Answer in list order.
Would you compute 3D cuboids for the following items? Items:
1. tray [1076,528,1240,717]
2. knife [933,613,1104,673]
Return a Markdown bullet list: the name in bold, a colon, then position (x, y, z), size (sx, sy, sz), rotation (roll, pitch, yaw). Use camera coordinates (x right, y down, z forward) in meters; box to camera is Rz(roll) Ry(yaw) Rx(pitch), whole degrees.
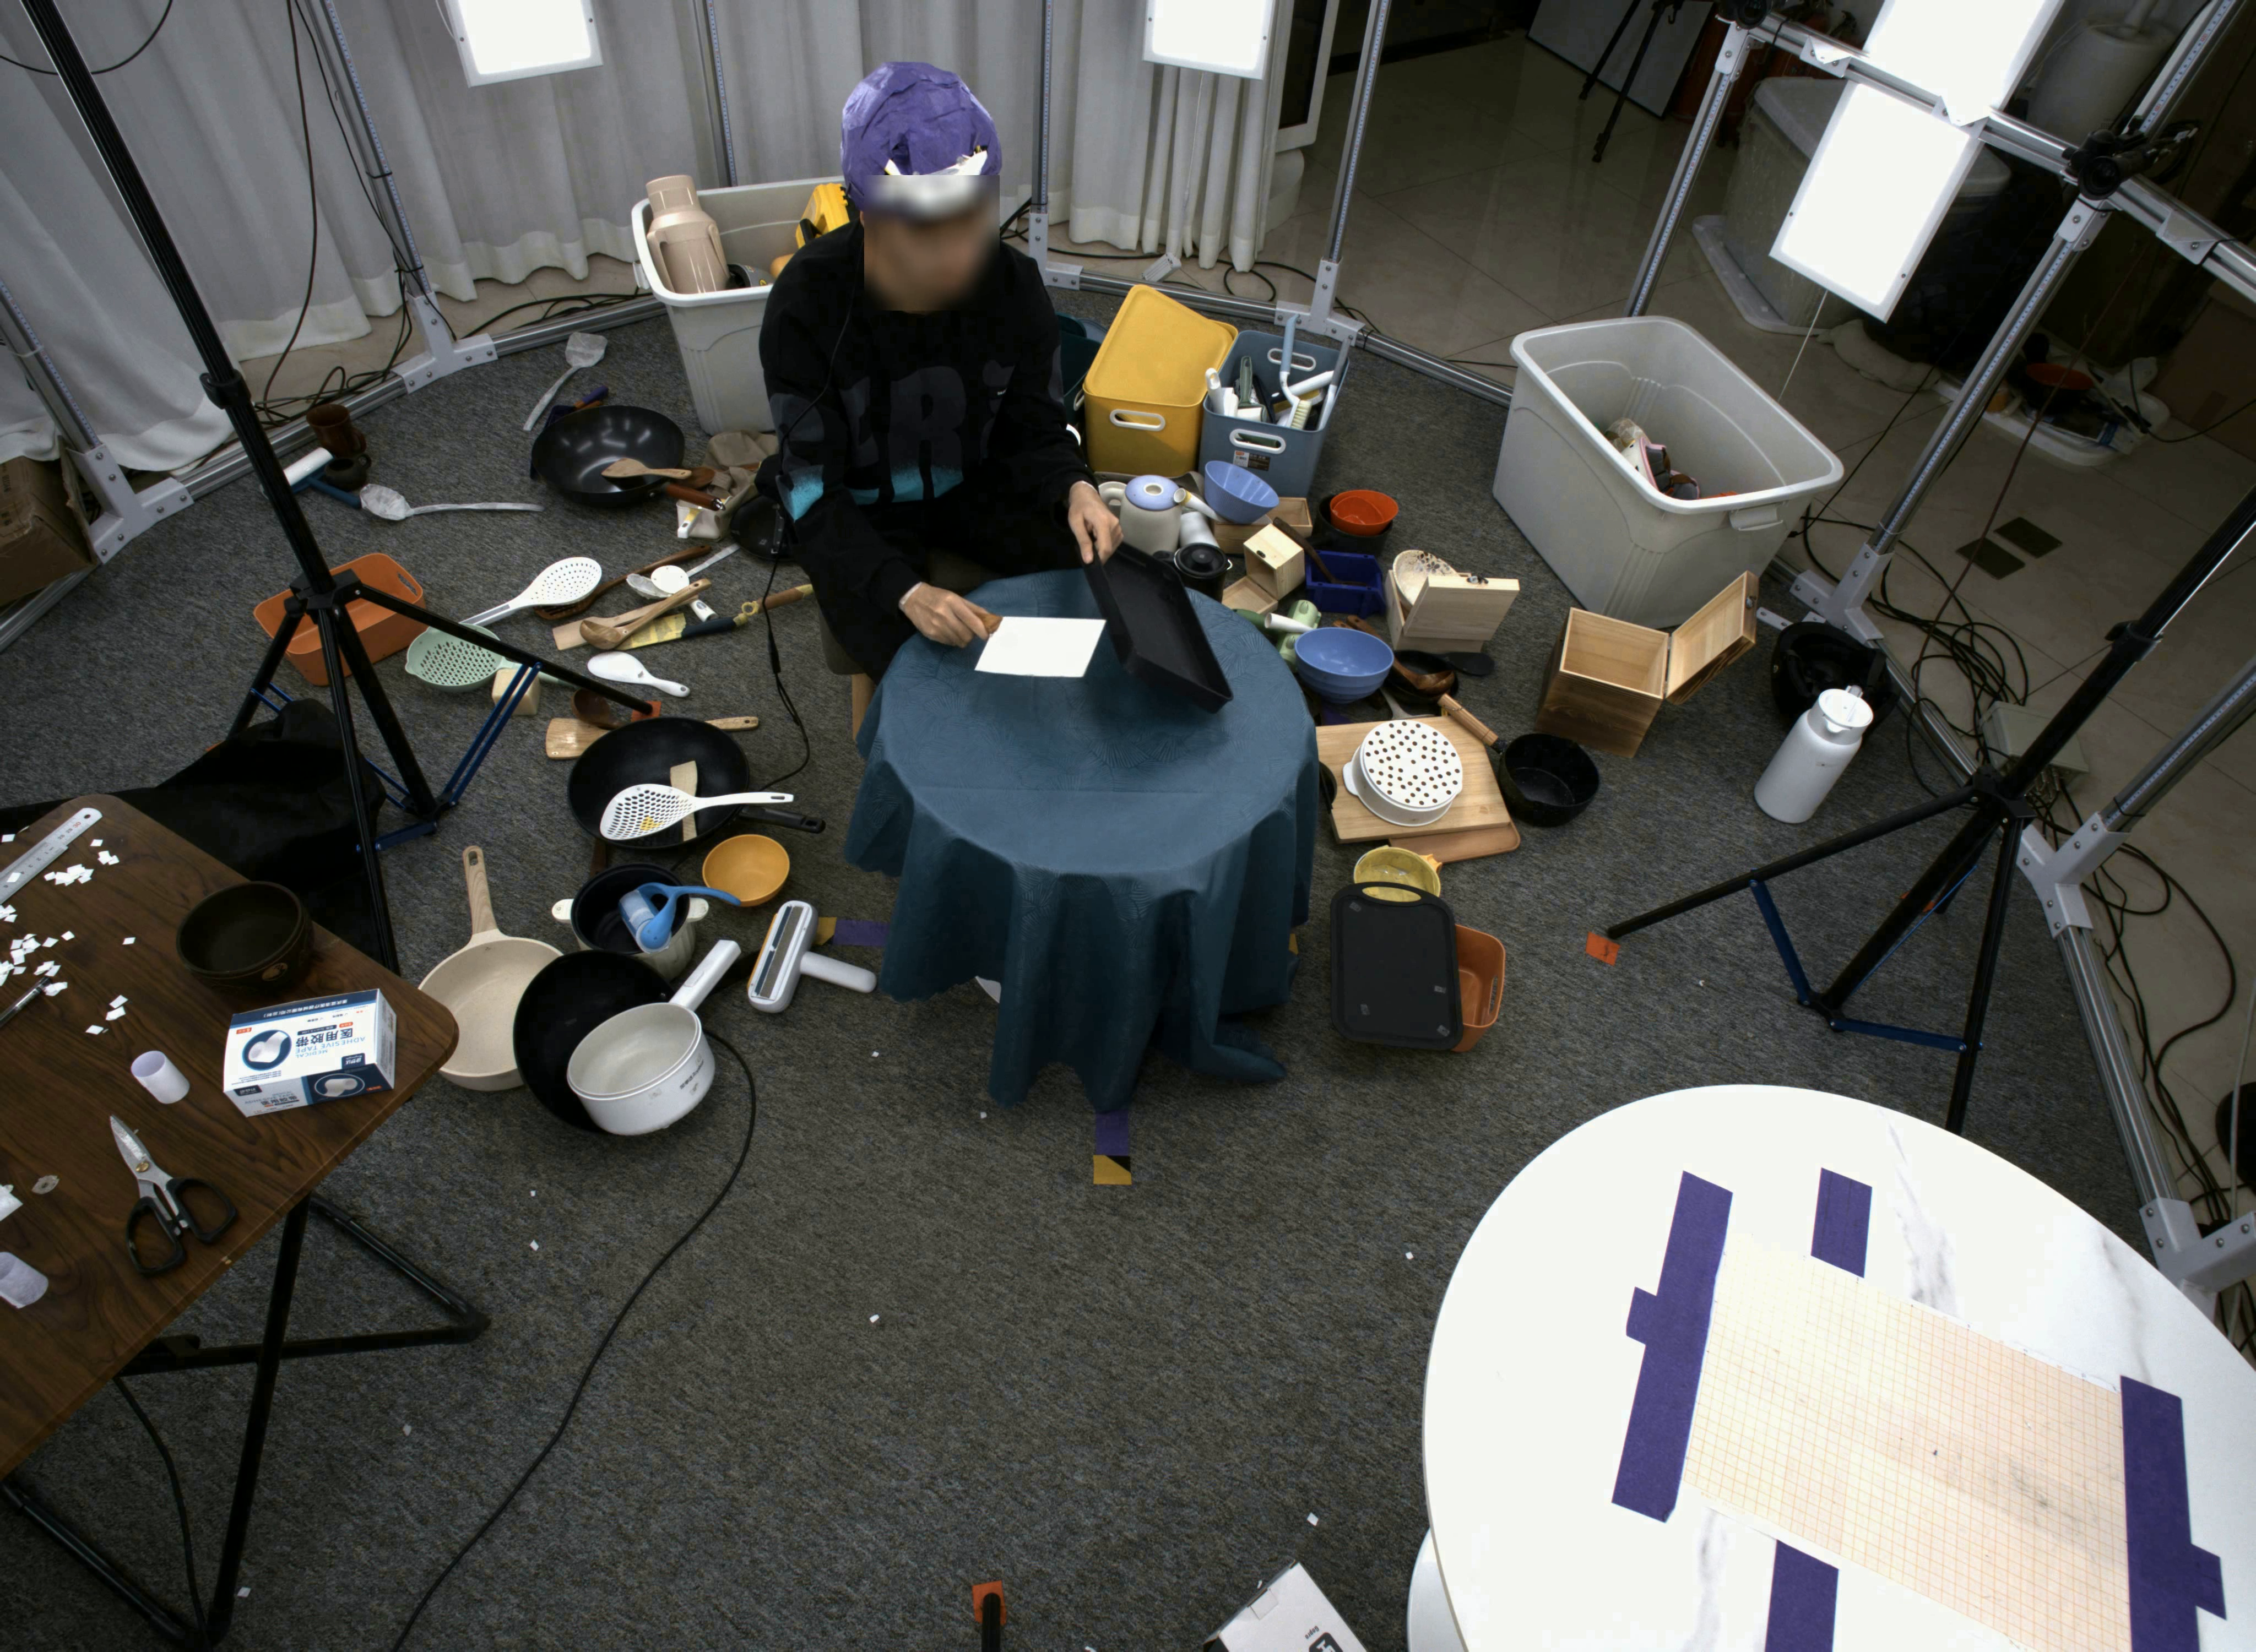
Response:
- **tray**: position (0.039, -0.293, 1.830), size (0.182, 0.036, 0.326), rotation (19, 35, -36)
- **knife**: position (-0.163, -0.251, 1.772), size (0.308, 0.020, 0.094), rotation (9, 67, 37)
